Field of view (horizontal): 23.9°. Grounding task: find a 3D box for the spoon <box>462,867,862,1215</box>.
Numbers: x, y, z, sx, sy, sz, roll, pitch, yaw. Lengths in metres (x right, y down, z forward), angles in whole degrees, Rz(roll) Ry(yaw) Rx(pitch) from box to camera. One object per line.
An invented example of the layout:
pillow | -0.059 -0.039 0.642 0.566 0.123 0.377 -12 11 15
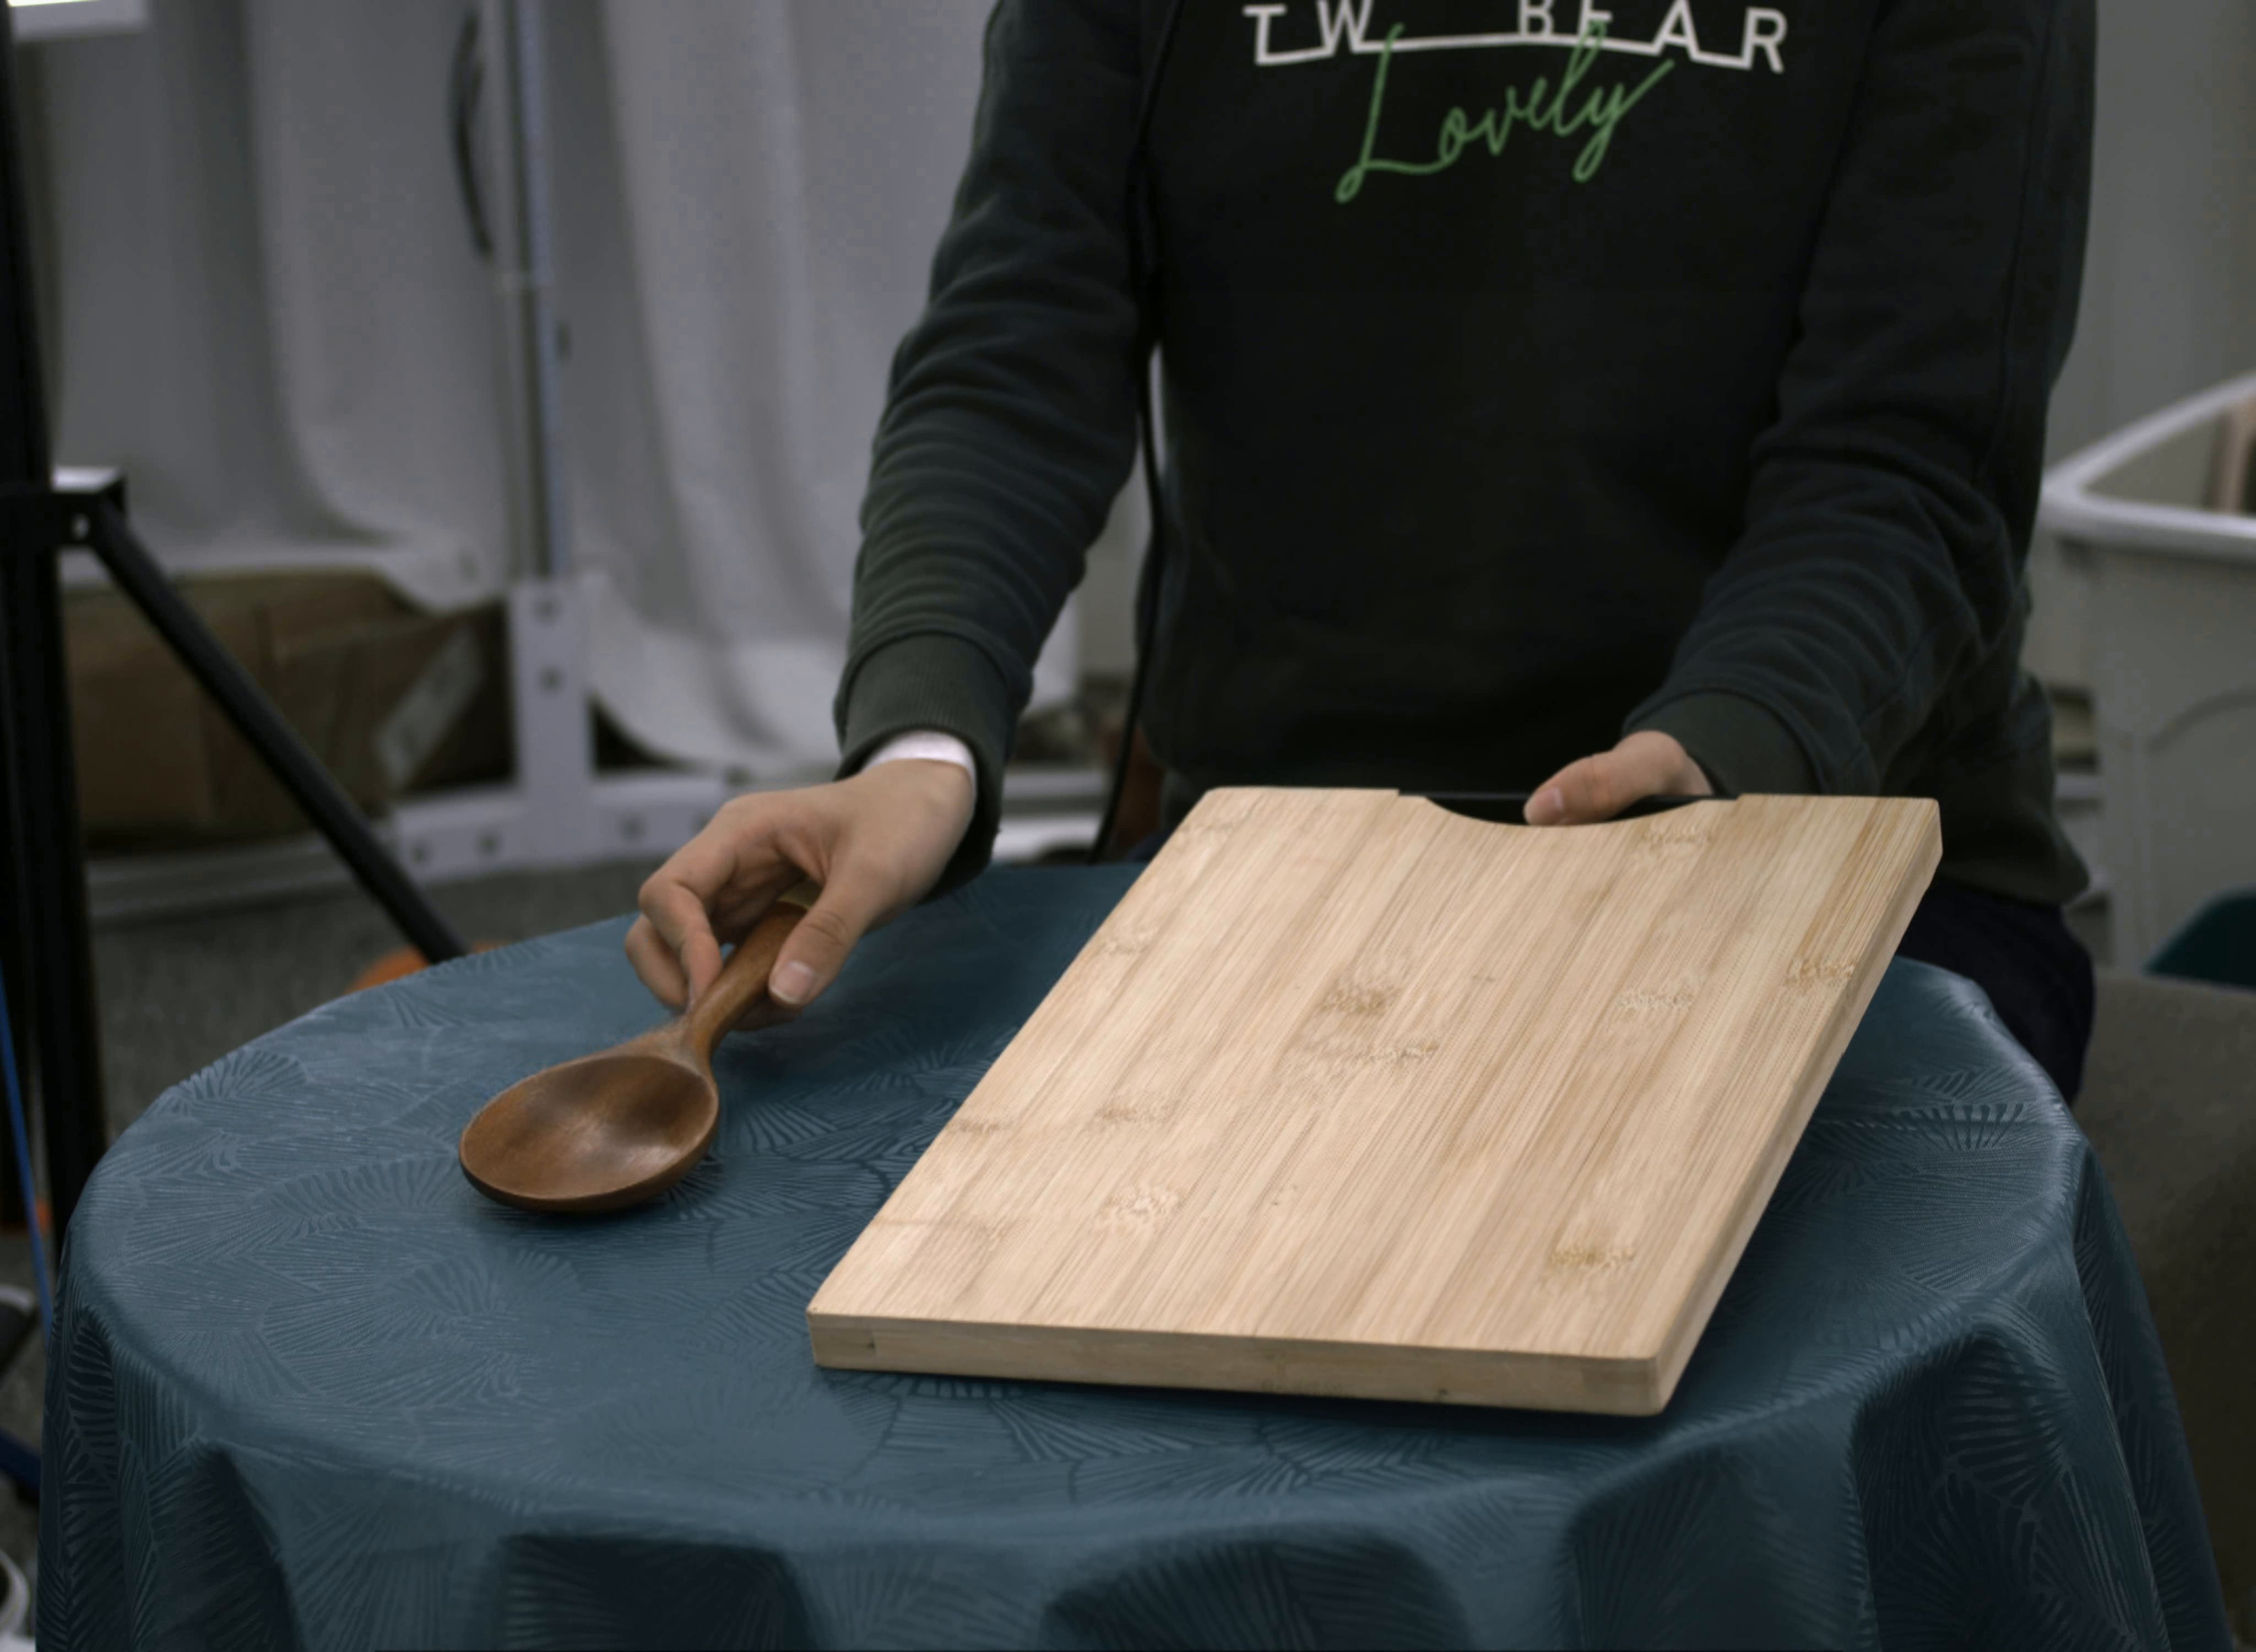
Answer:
spoon | -0.134 0.067 1.640 0.076 0.017 0.214 6 29 23

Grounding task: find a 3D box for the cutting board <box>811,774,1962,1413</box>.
cutting board | 0.084 0.067 1.531 0.254 0.023 0.346 1 26 22
